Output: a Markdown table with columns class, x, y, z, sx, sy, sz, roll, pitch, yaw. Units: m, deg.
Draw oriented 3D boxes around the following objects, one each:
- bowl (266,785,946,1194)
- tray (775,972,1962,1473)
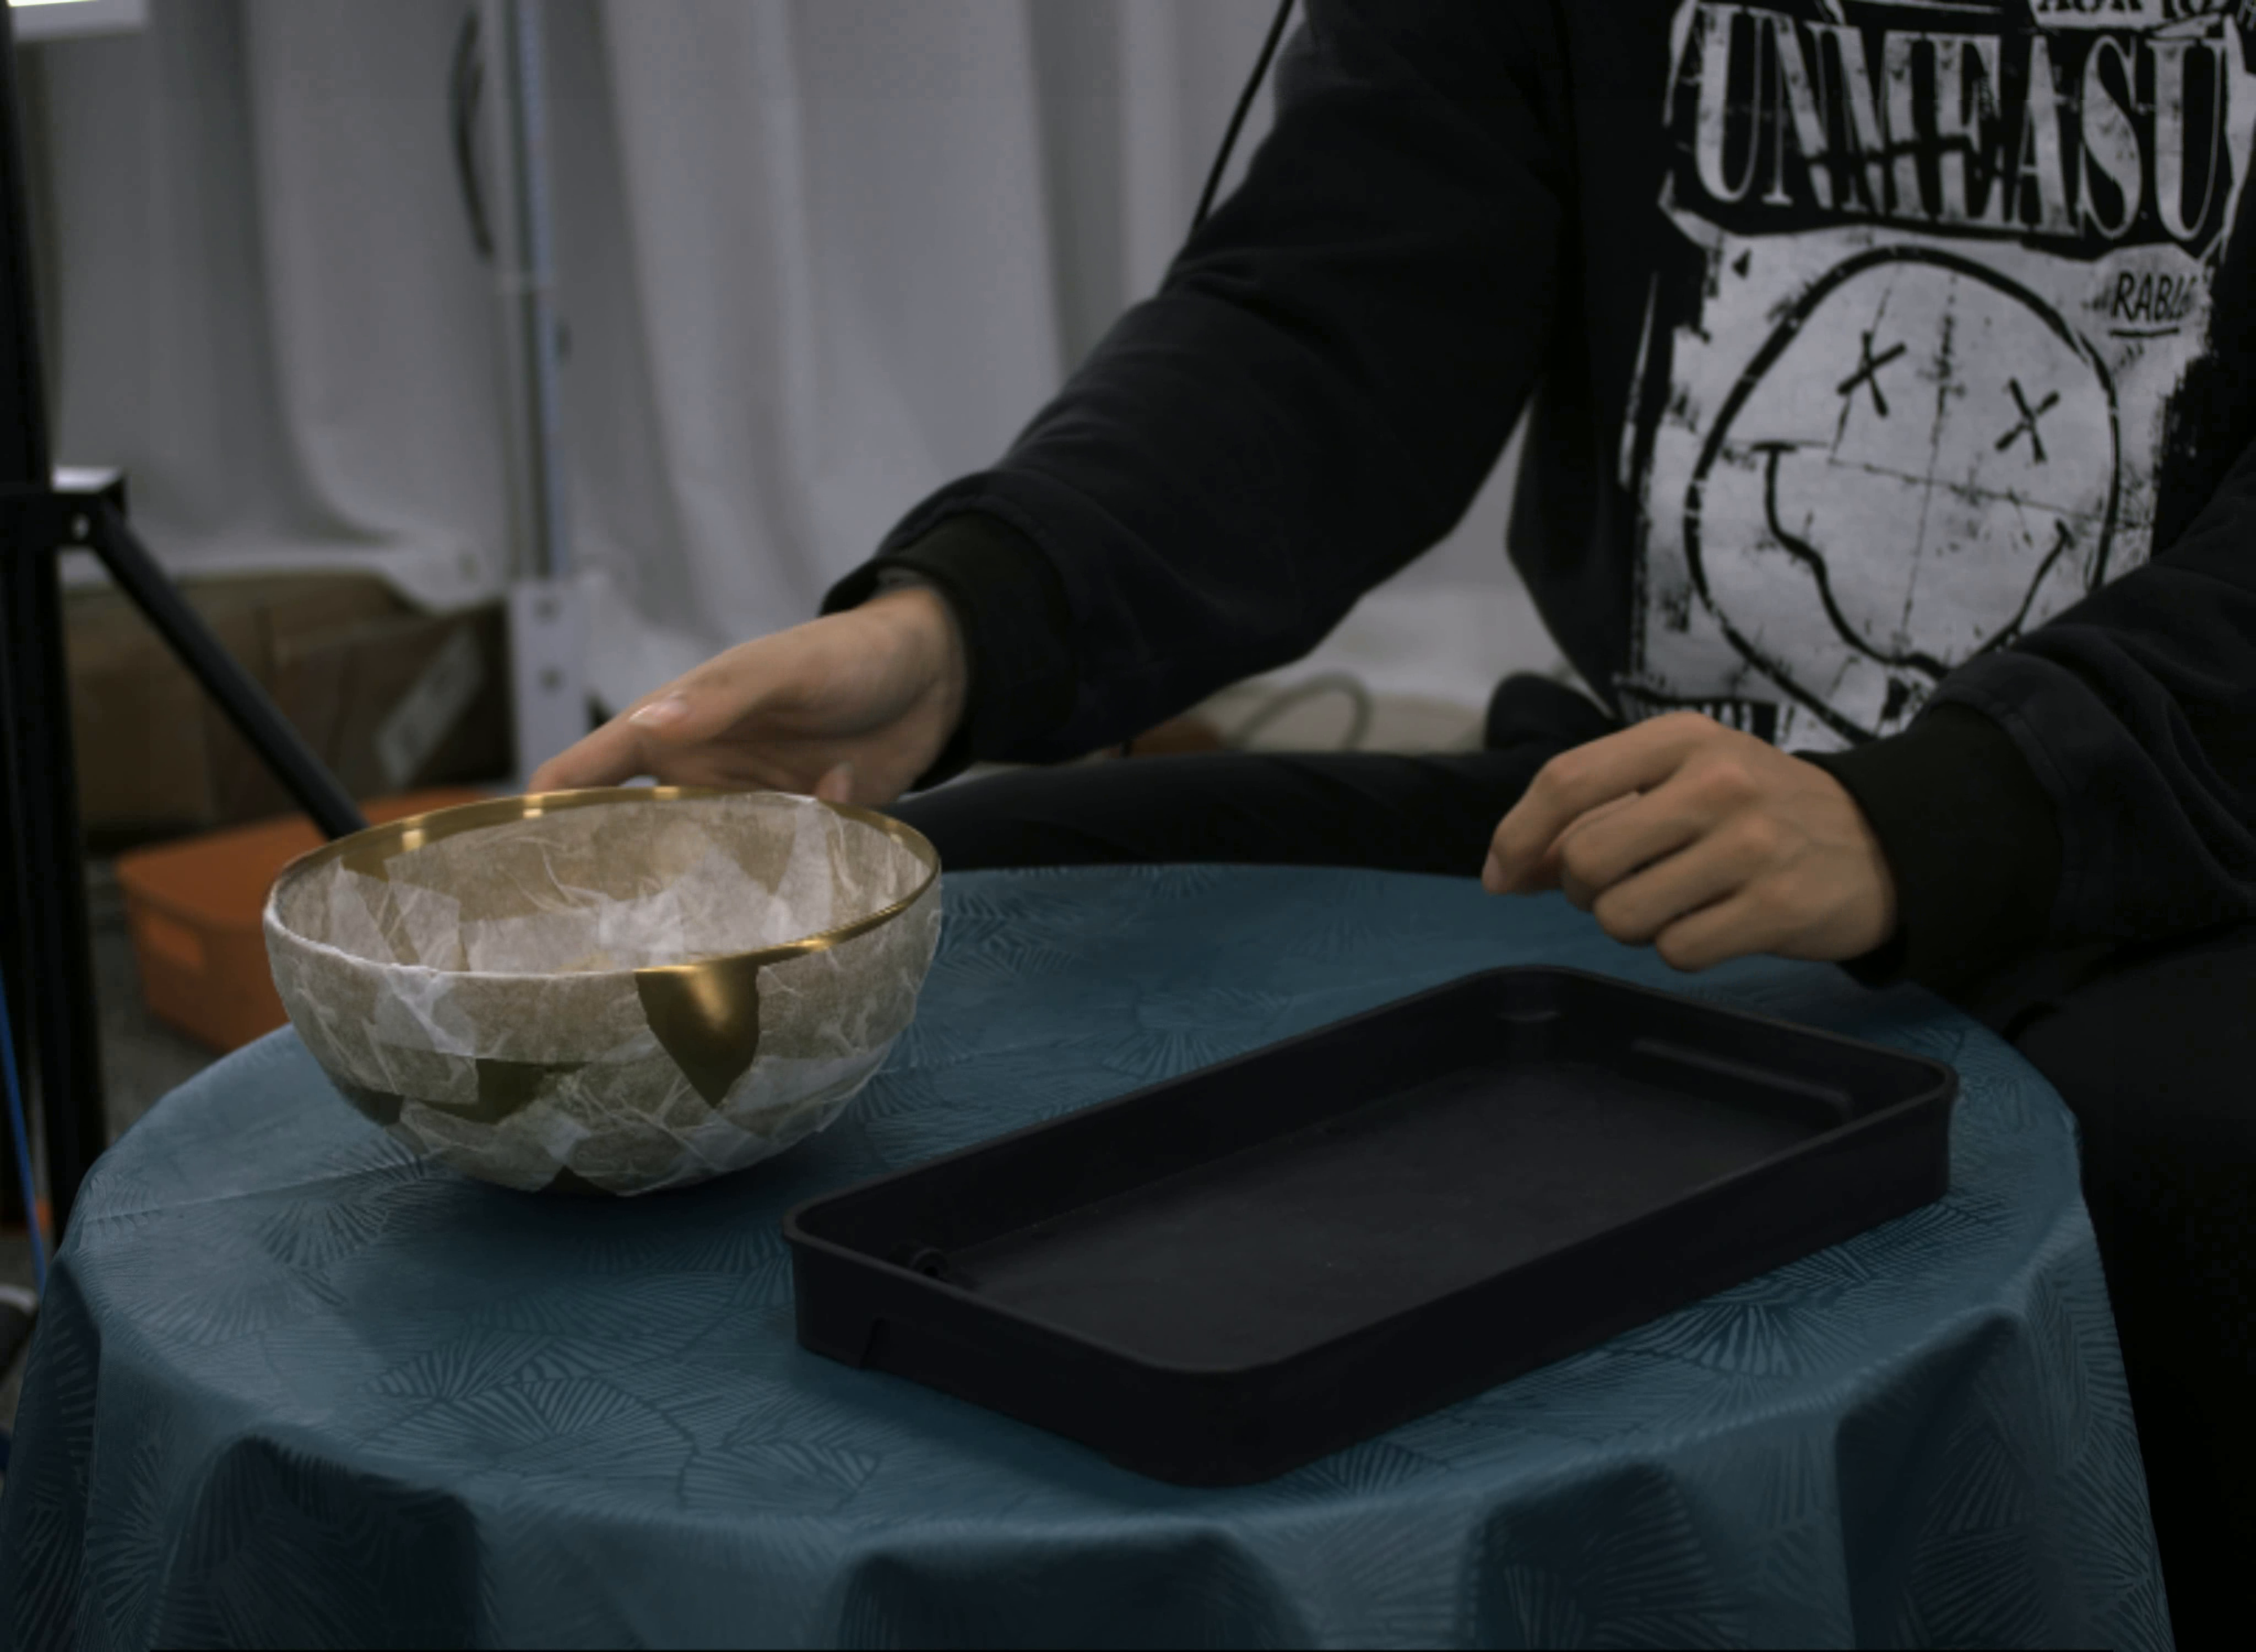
| class | x | y | z | sx | sy | sz | roll | pitch | yaw |
| --- | --- | --- | --- | --- | --- | --- | --- | --- | --- |
| bowl | -0.150 | 0.056 | 1.598 | 0.213 | 0.094 | 0.216 | -4 | 15 | 0 |
| tray | 0.072 | 0.105 | 1.487 | 0.310 | 0.037 | 0.188 | -15 | 19 | -39 |
